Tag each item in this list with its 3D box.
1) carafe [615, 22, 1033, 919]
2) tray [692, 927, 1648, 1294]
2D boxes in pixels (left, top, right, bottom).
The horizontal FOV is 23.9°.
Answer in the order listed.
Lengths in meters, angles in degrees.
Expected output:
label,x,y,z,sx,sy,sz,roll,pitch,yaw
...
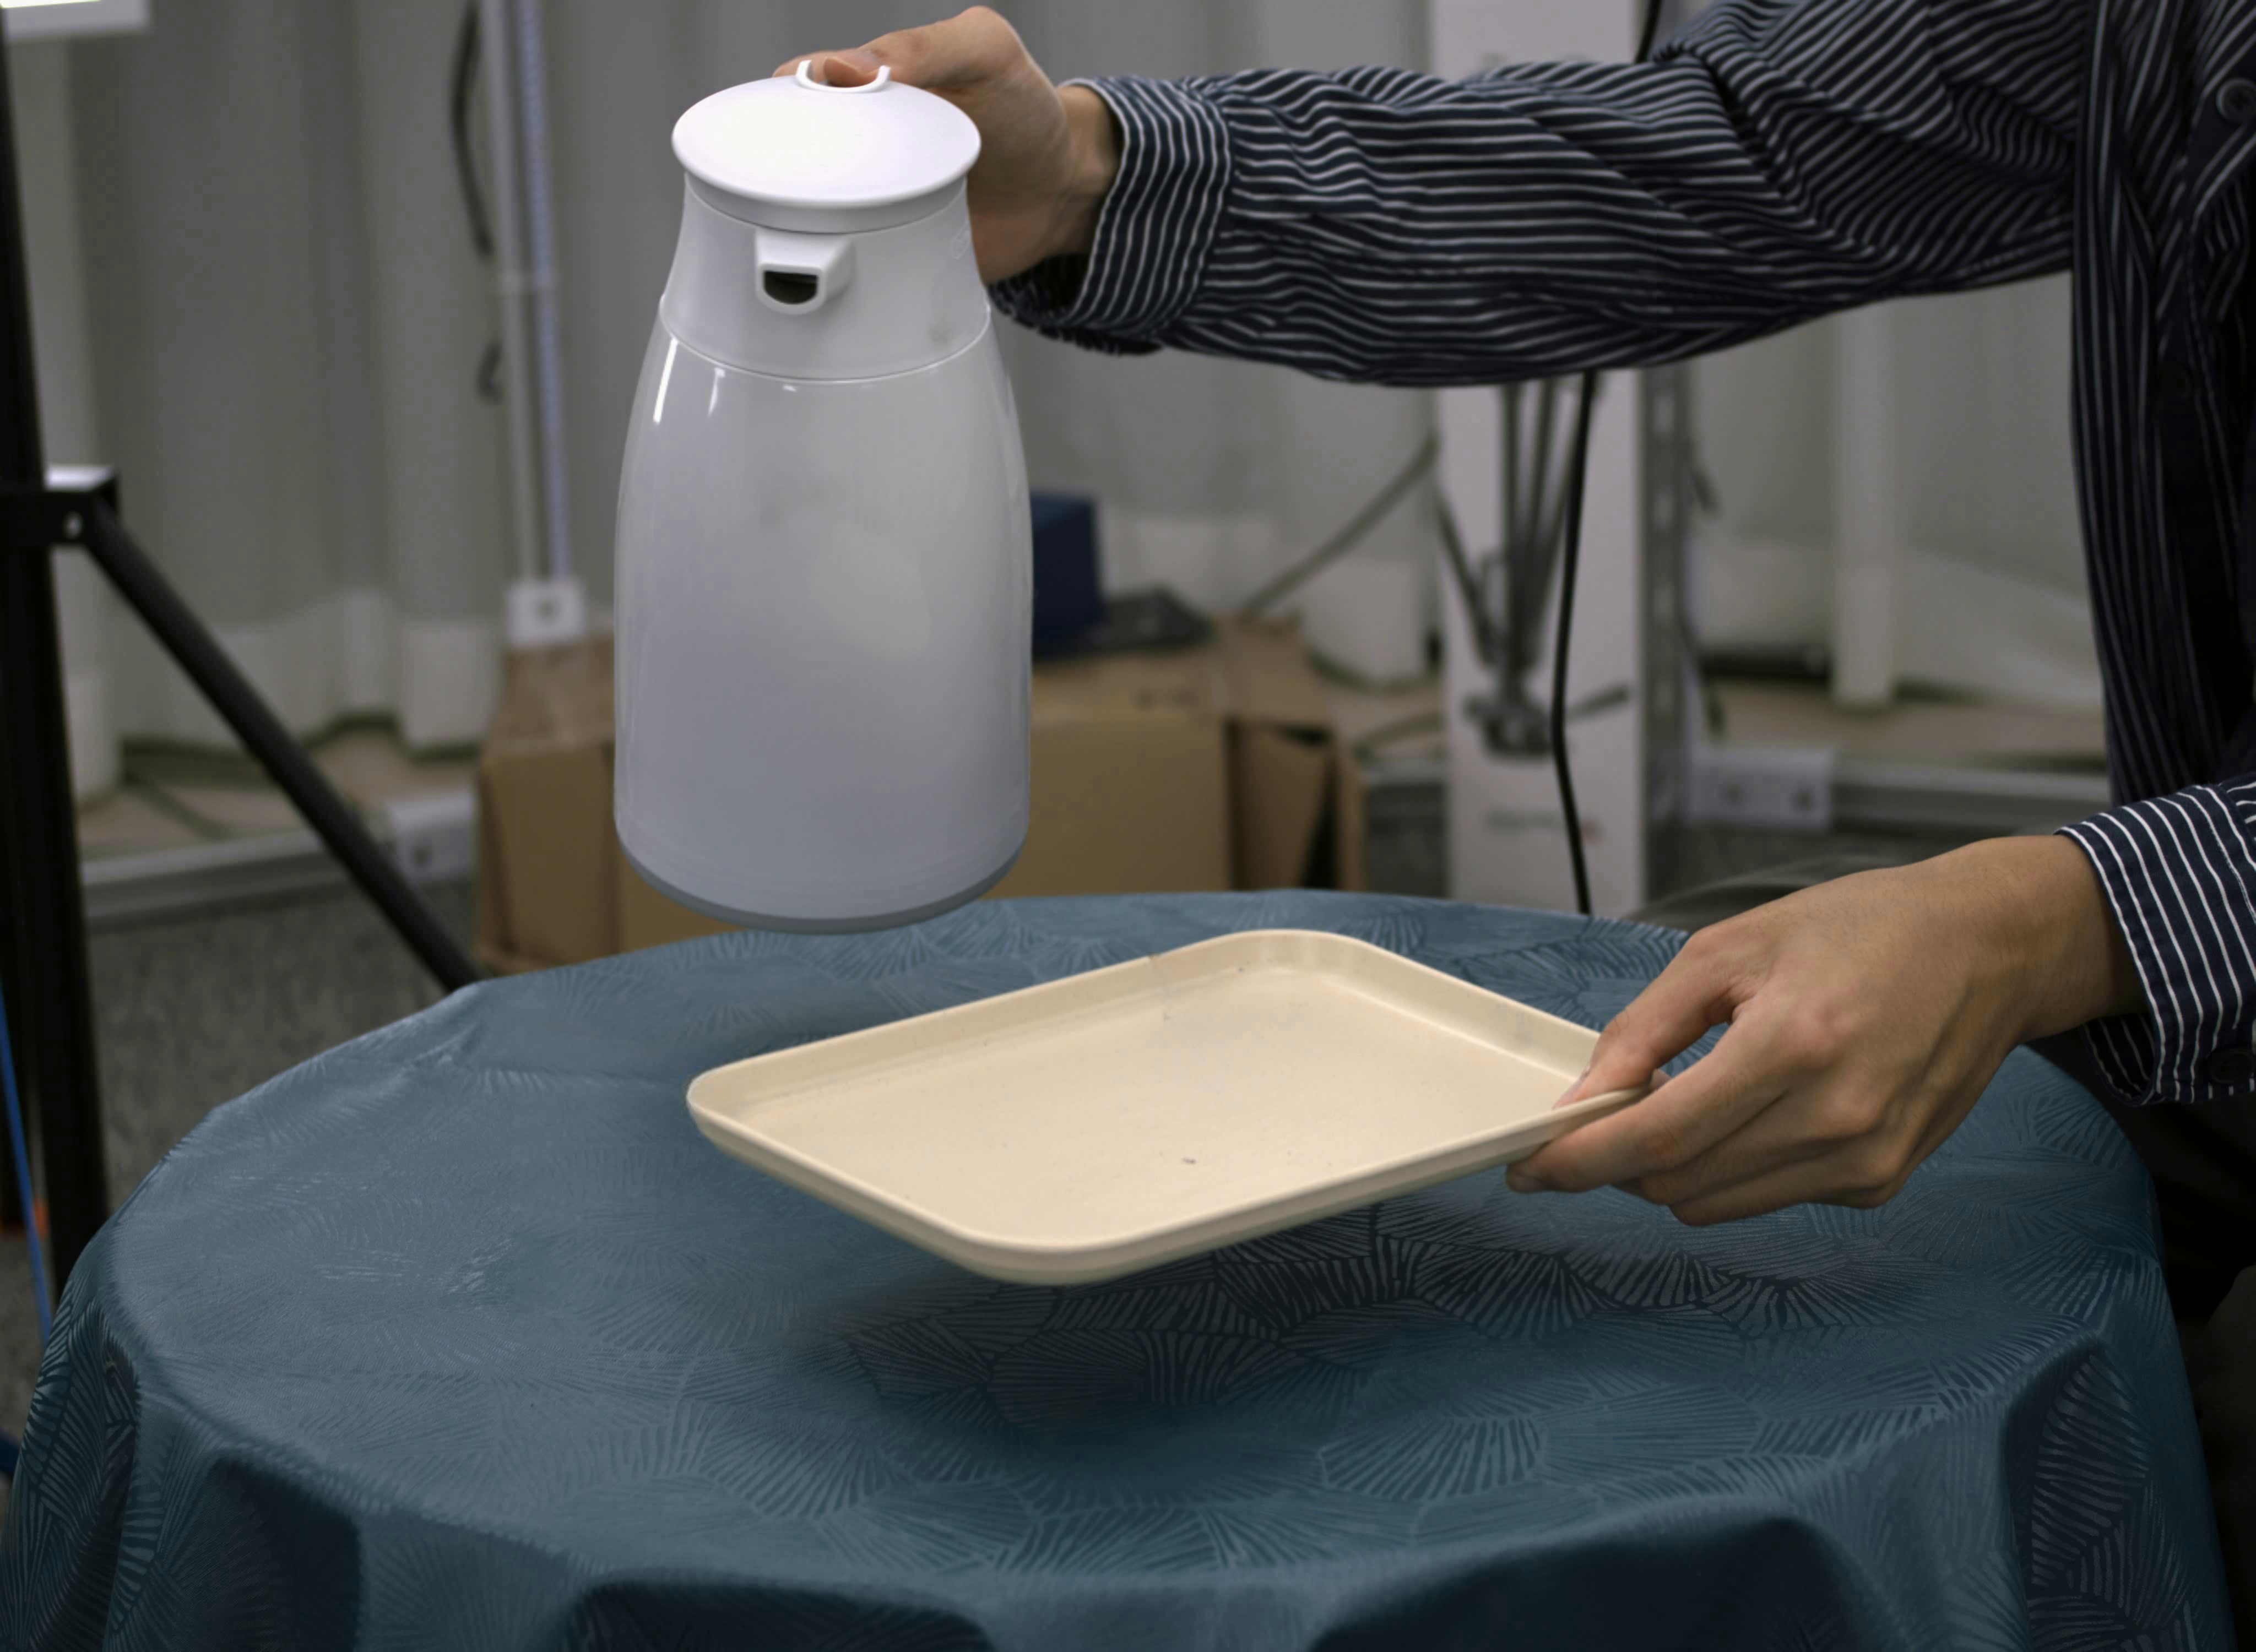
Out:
label,x,y,z,sx,sy,sz,roll,pitch,yaw
carafe,-0.093,-0.120,1.661,0.132,0.248,0.168,3,30,2
tray,0.013,0.077,1.464,0.234,0.017,0.175,-13,23,-37
